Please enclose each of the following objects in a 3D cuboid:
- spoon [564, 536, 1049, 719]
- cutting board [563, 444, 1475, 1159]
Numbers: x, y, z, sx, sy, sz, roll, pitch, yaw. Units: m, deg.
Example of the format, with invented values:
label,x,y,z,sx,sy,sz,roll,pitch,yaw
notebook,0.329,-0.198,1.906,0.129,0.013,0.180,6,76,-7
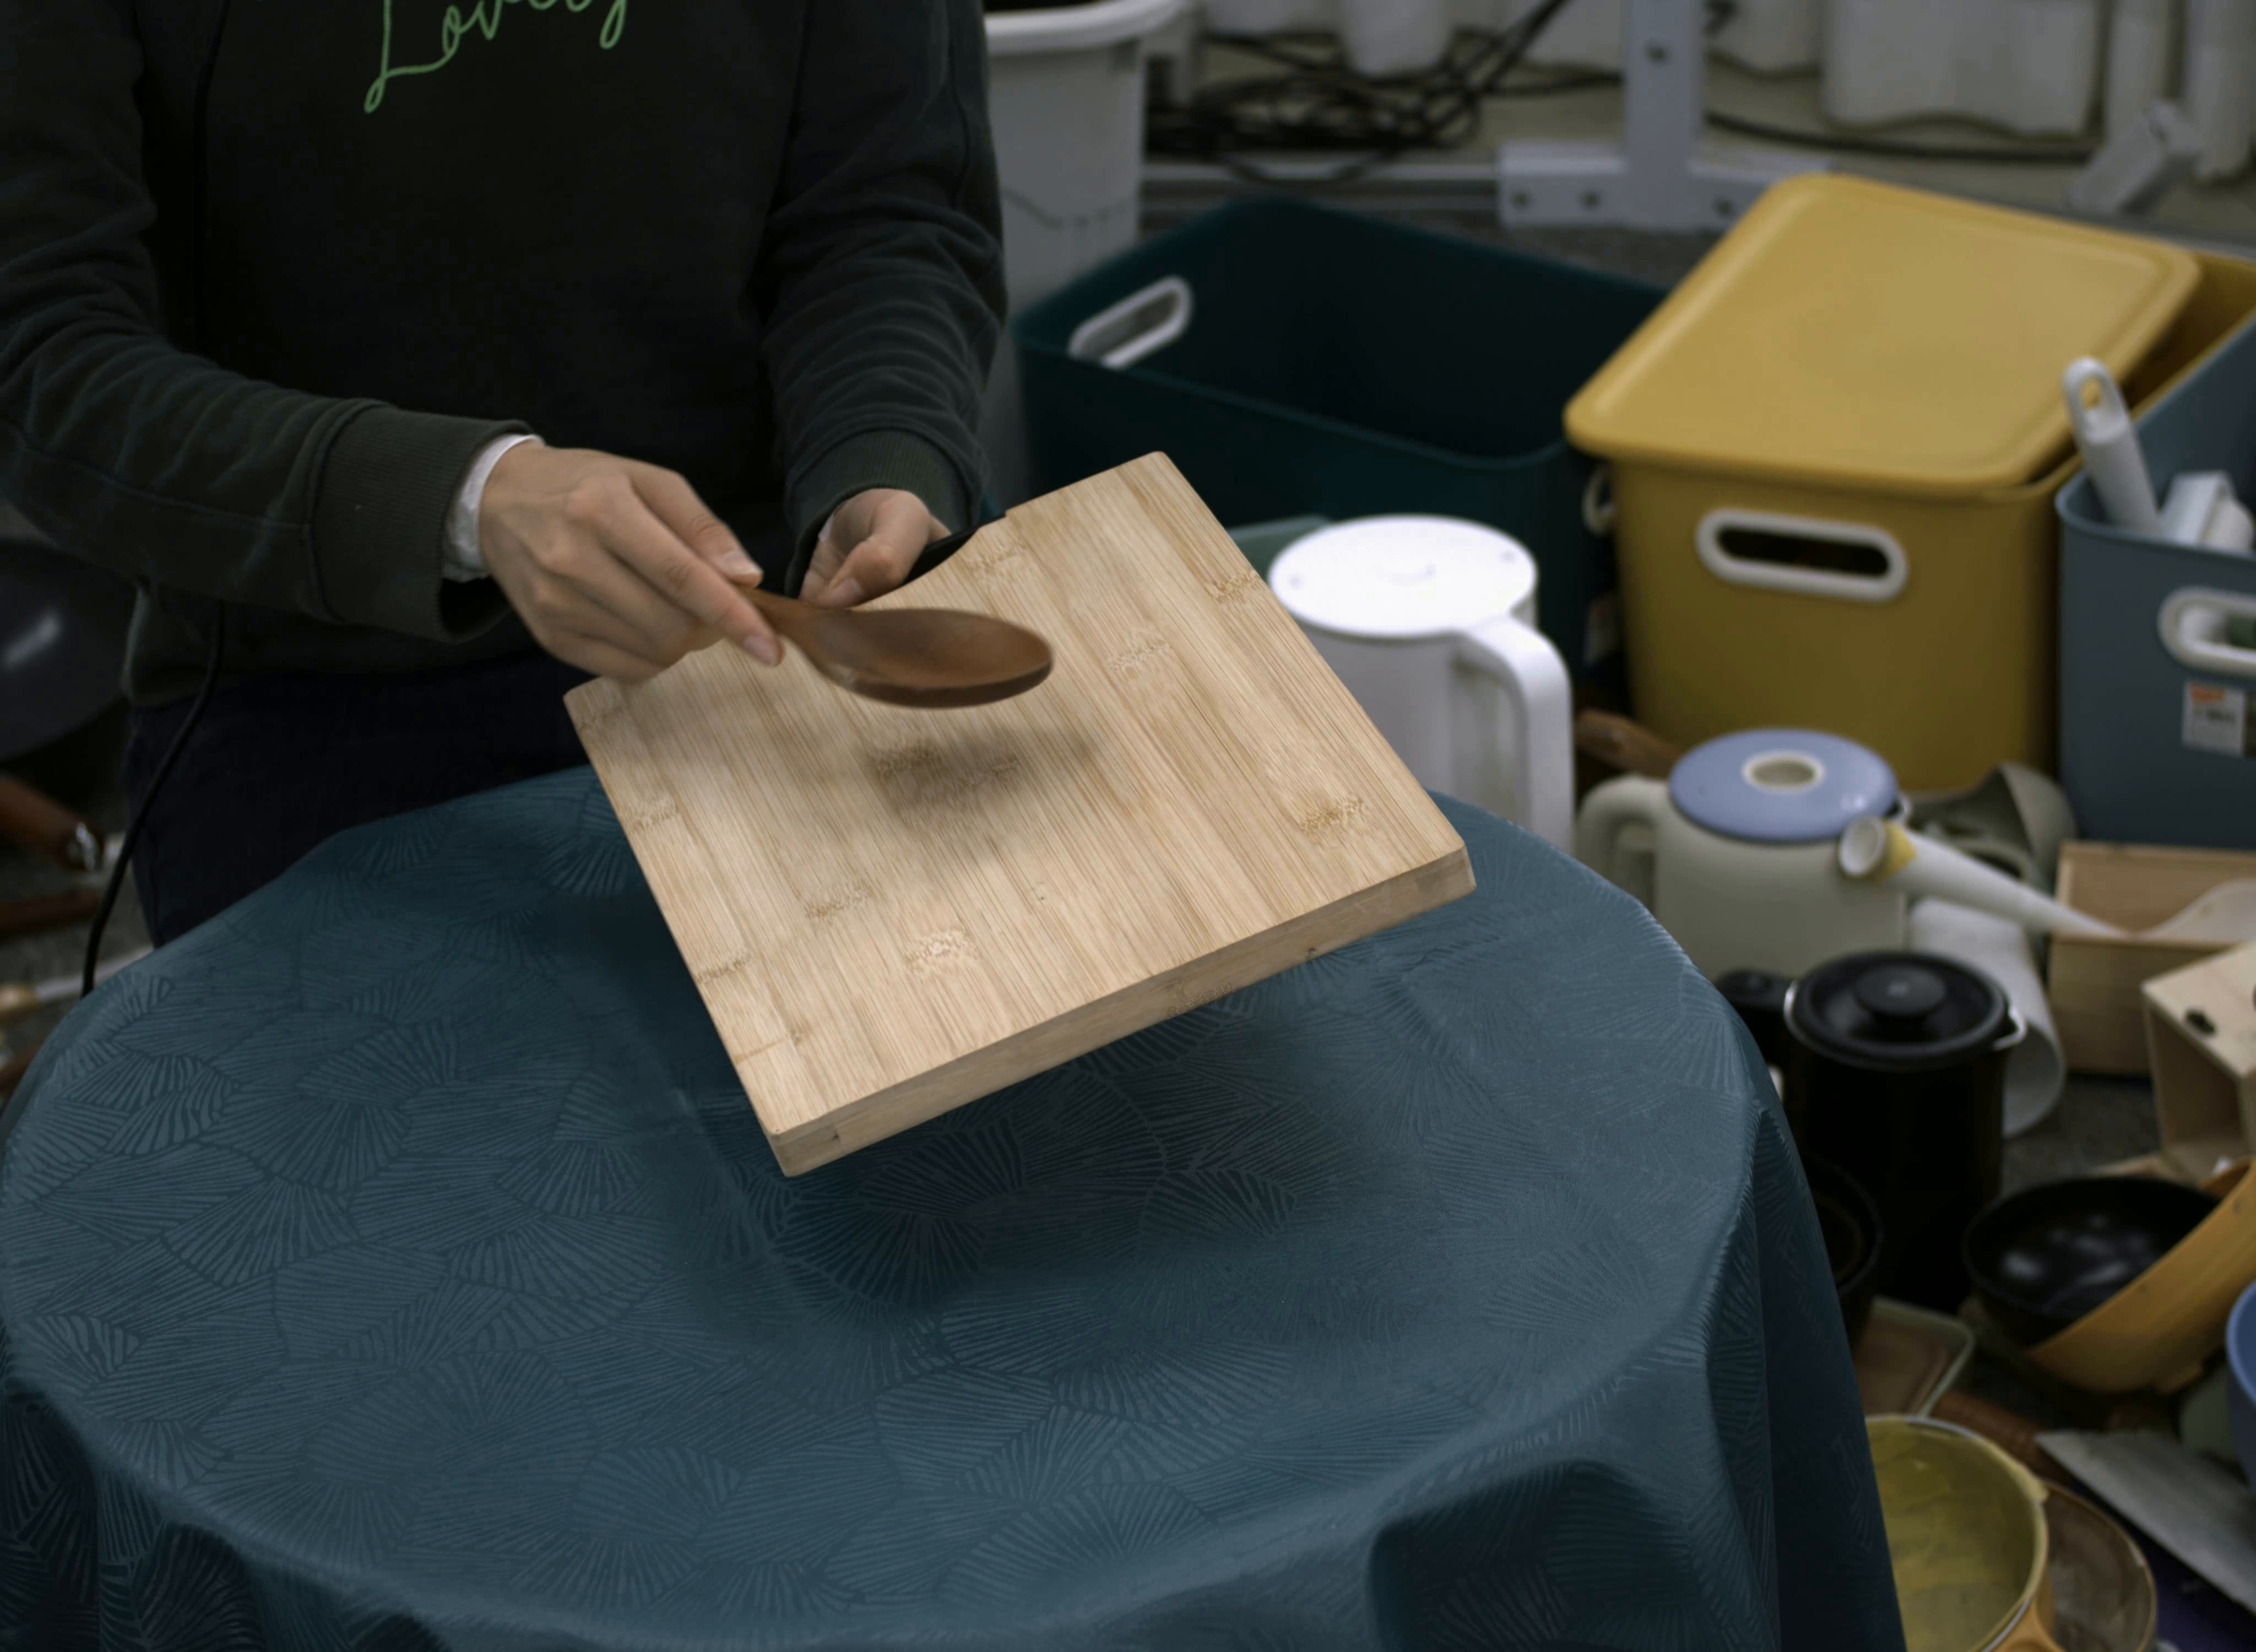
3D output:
label,x,y,z,sx,sy,sz,roll,pitch,yaw
spoon,-0.115,-0.068,1.930,0.215,0.017,0.076,19,30,38
cutting board,-0.047,-0.016,1.922,0.251,0.023,0.352,-22,29,-8
